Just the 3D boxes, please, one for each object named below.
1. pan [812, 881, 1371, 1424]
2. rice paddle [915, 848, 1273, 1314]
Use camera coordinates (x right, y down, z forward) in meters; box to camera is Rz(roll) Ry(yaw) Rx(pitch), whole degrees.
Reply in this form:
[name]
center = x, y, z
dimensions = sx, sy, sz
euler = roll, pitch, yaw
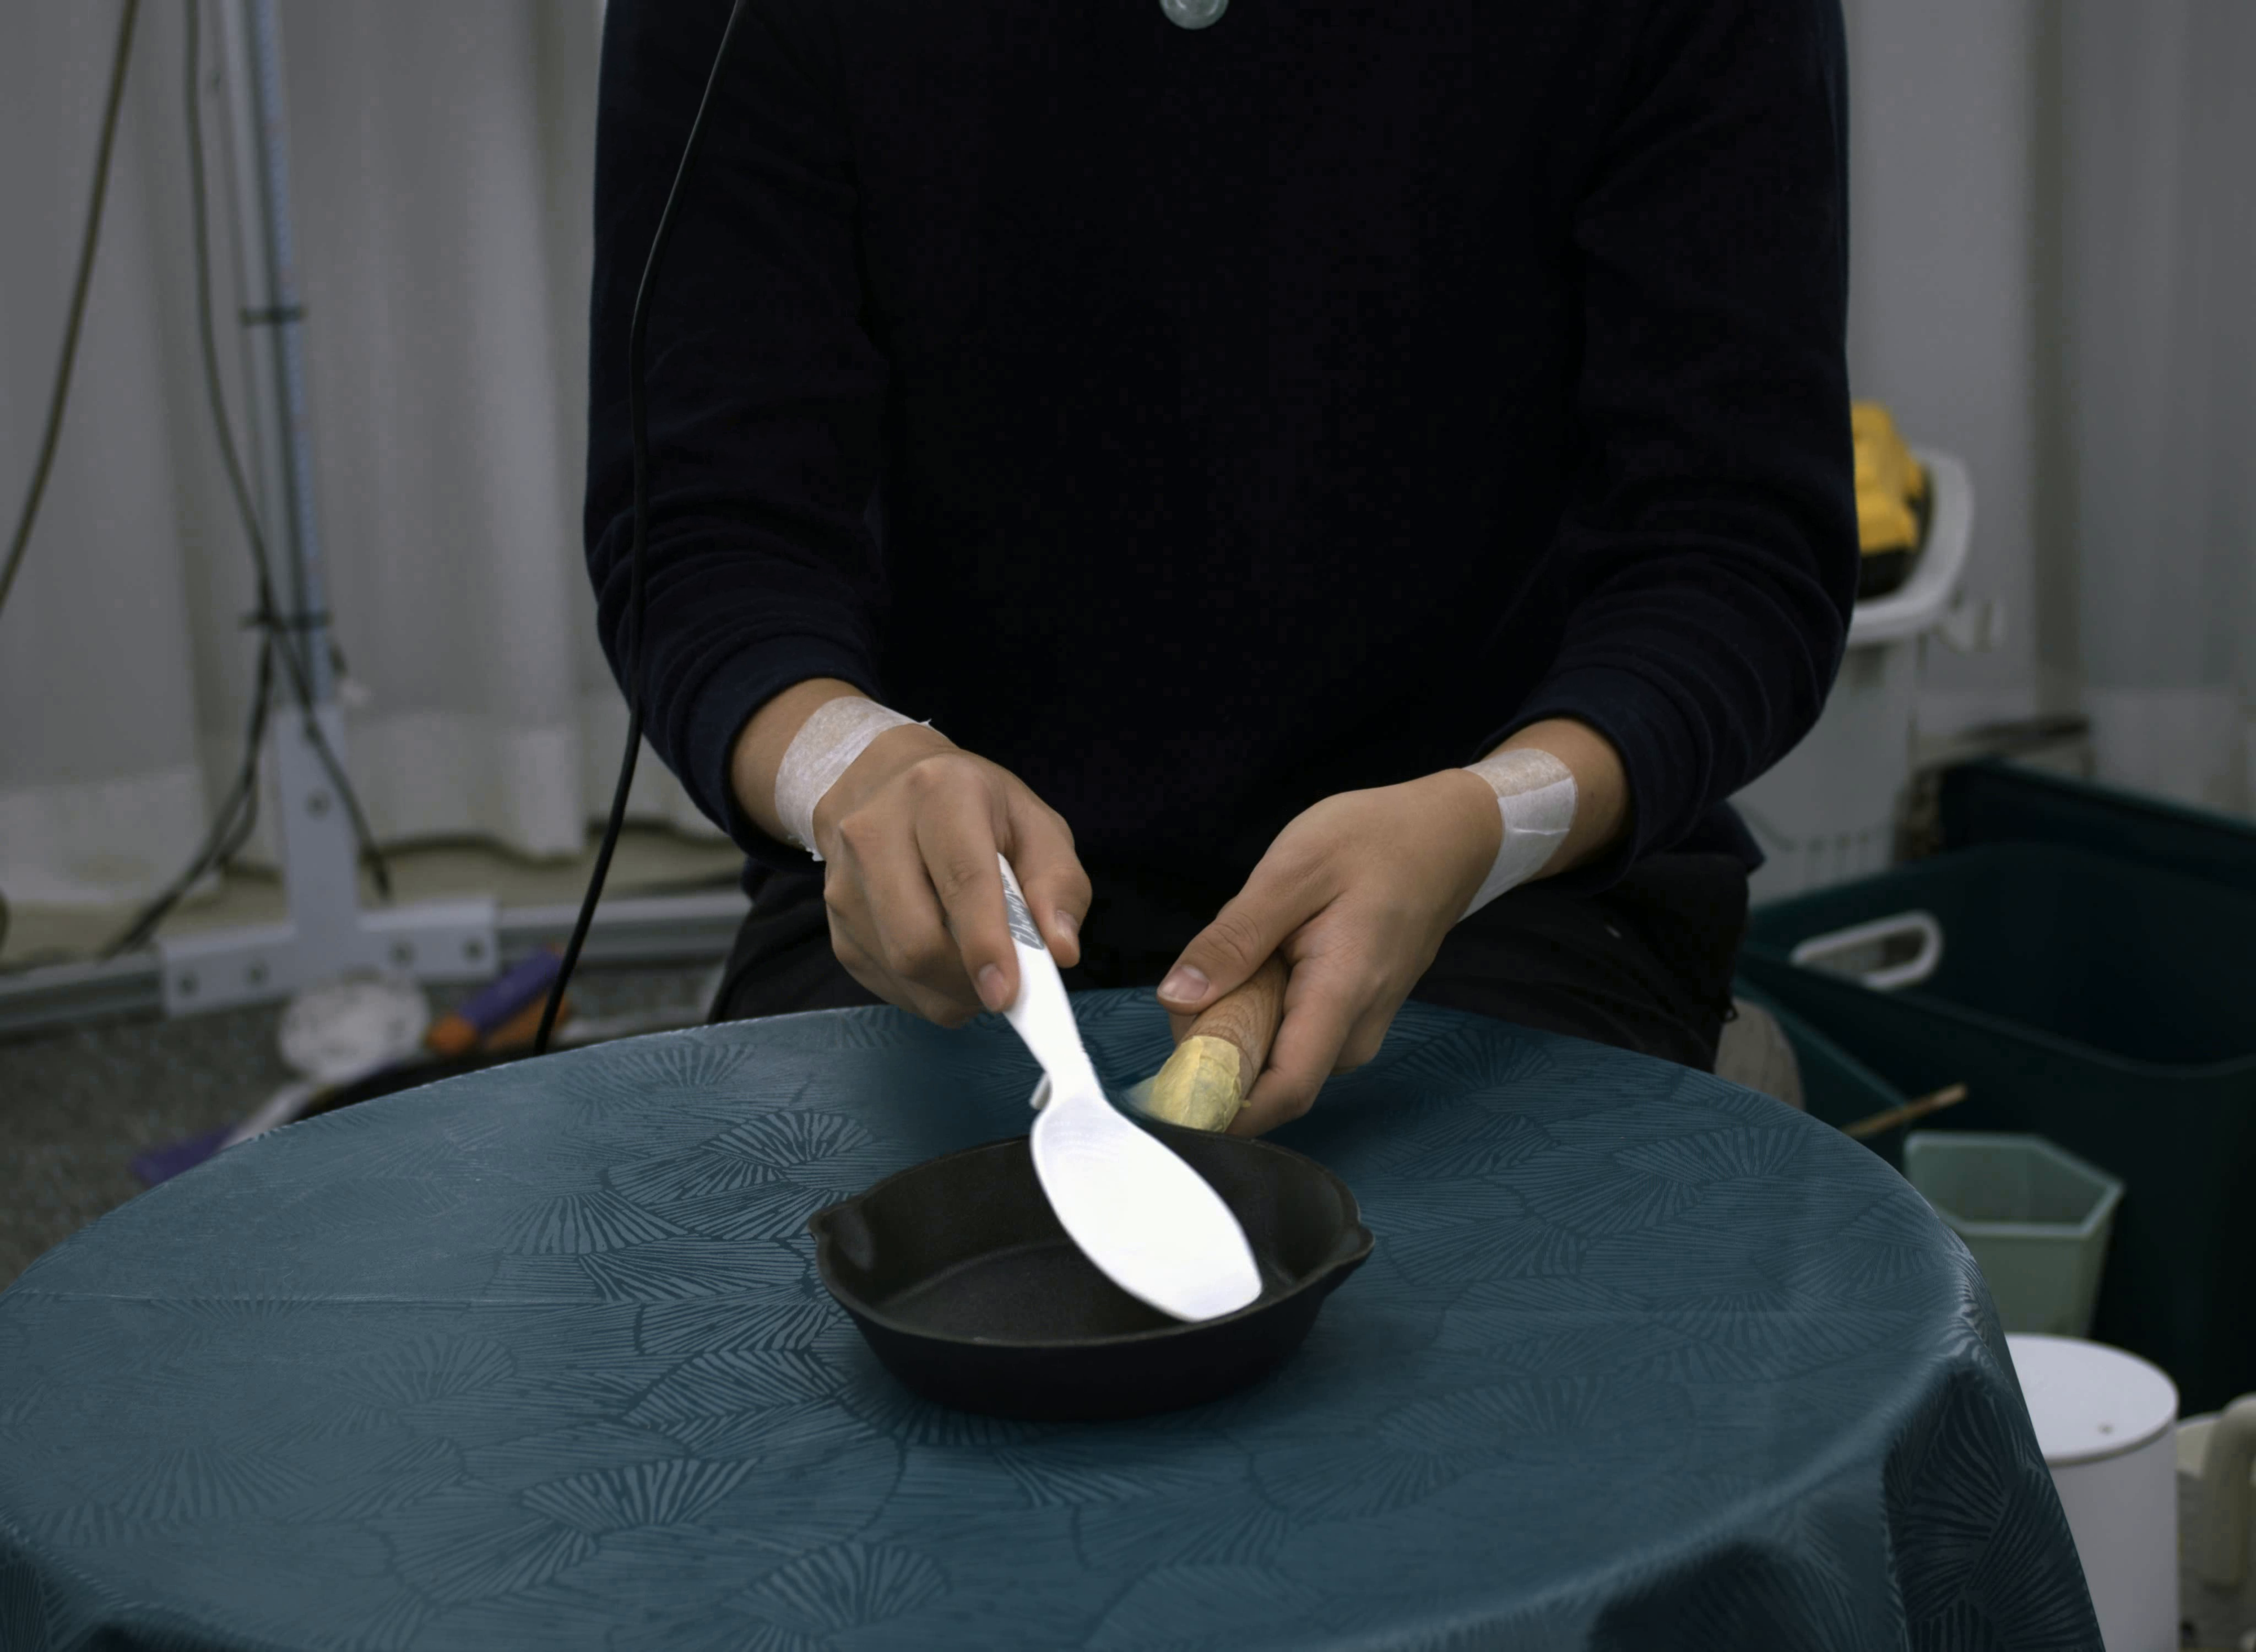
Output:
[pan]
center = 0.016, 0.095, 1.650
dimensions = 0.169, 0.049, 0.326
euler = 2, 21, 19
[rice paddle]
center = -0.013, 0.078, 1.628
dimensions = 0.068, 0.029, 0.208
euler = 10, 31, -33
